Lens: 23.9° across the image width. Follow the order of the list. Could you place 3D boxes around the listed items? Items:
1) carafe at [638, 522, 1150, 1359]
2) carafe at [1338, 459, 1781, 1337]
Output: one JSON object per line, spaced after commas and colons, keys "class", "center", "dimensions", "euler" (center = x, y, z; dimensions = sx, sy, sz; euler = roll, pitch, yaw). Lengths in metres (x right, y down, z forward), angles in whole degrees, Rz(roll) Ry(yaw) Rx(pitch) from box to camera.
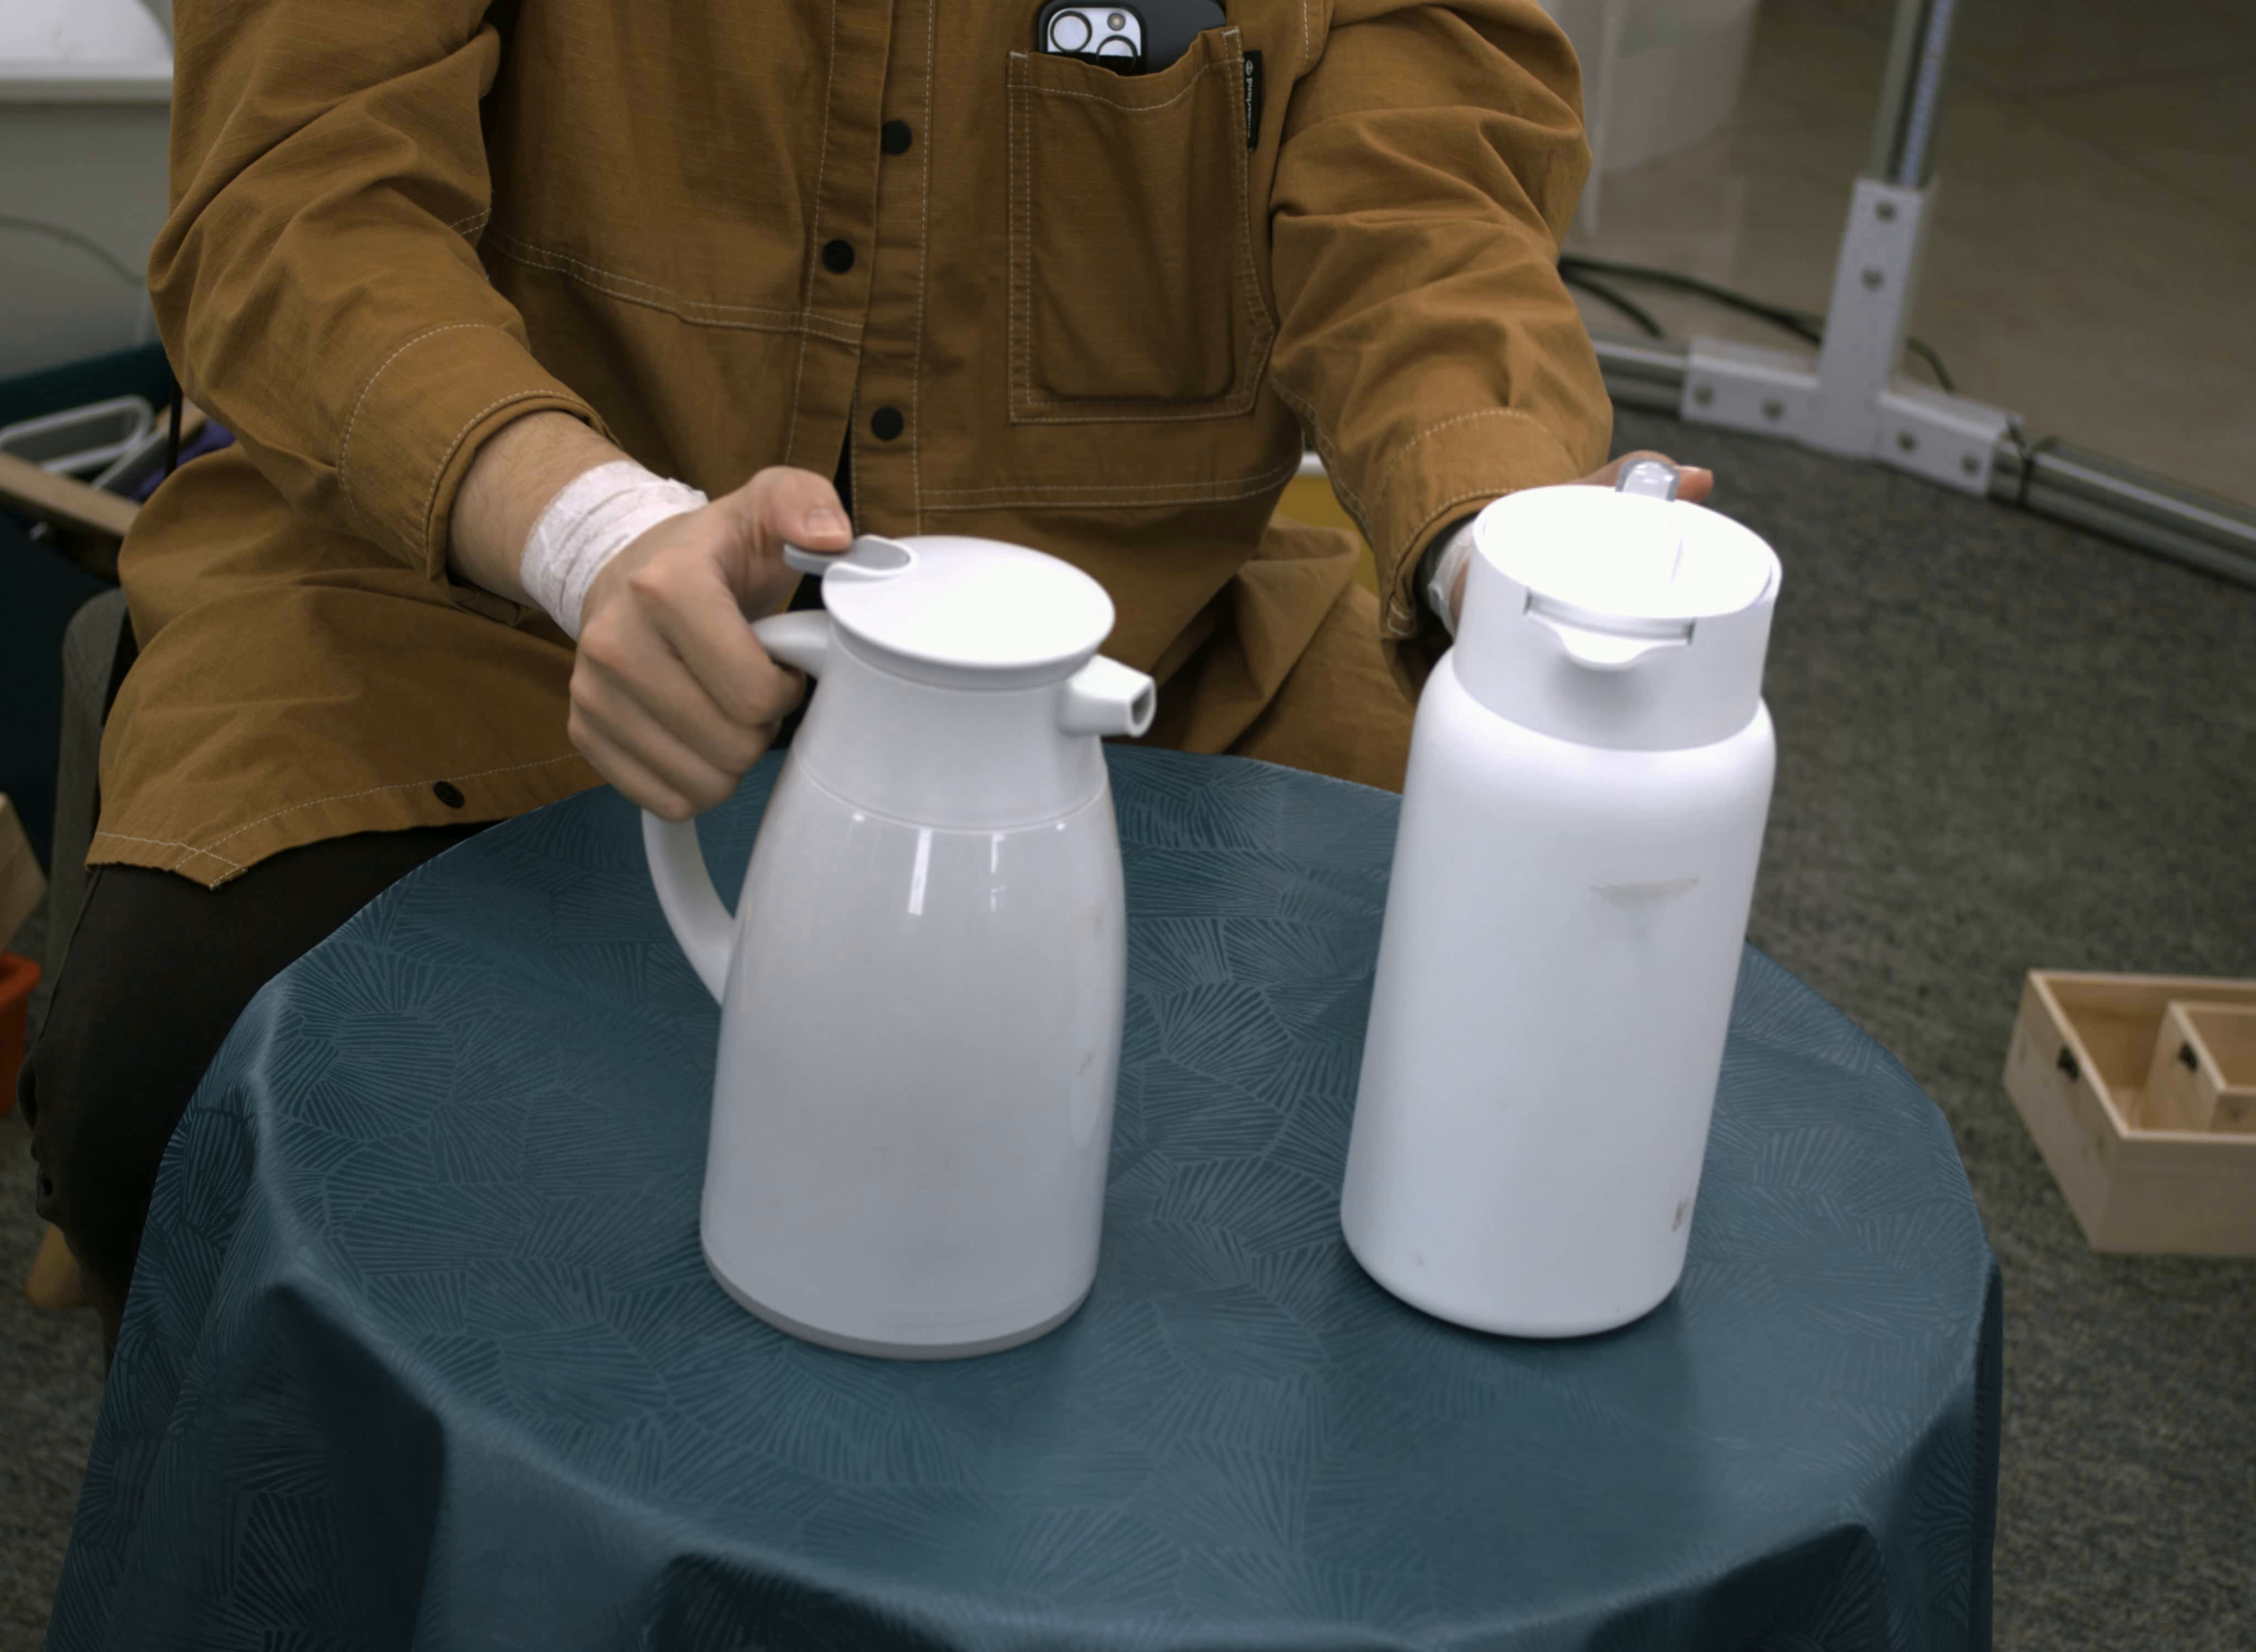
{"class": "carafe", "center": [-0.081, 0.026, 1.705], "dimensions": [0.168, 0.248, 0.132], "euler": [15, 27, 19]}
{"class": "carafe", "center": [0.144, 0.019, 1.748], "dimensions": [0.124, 0.268, 0.173], "euler": [9, 26, 8]}
